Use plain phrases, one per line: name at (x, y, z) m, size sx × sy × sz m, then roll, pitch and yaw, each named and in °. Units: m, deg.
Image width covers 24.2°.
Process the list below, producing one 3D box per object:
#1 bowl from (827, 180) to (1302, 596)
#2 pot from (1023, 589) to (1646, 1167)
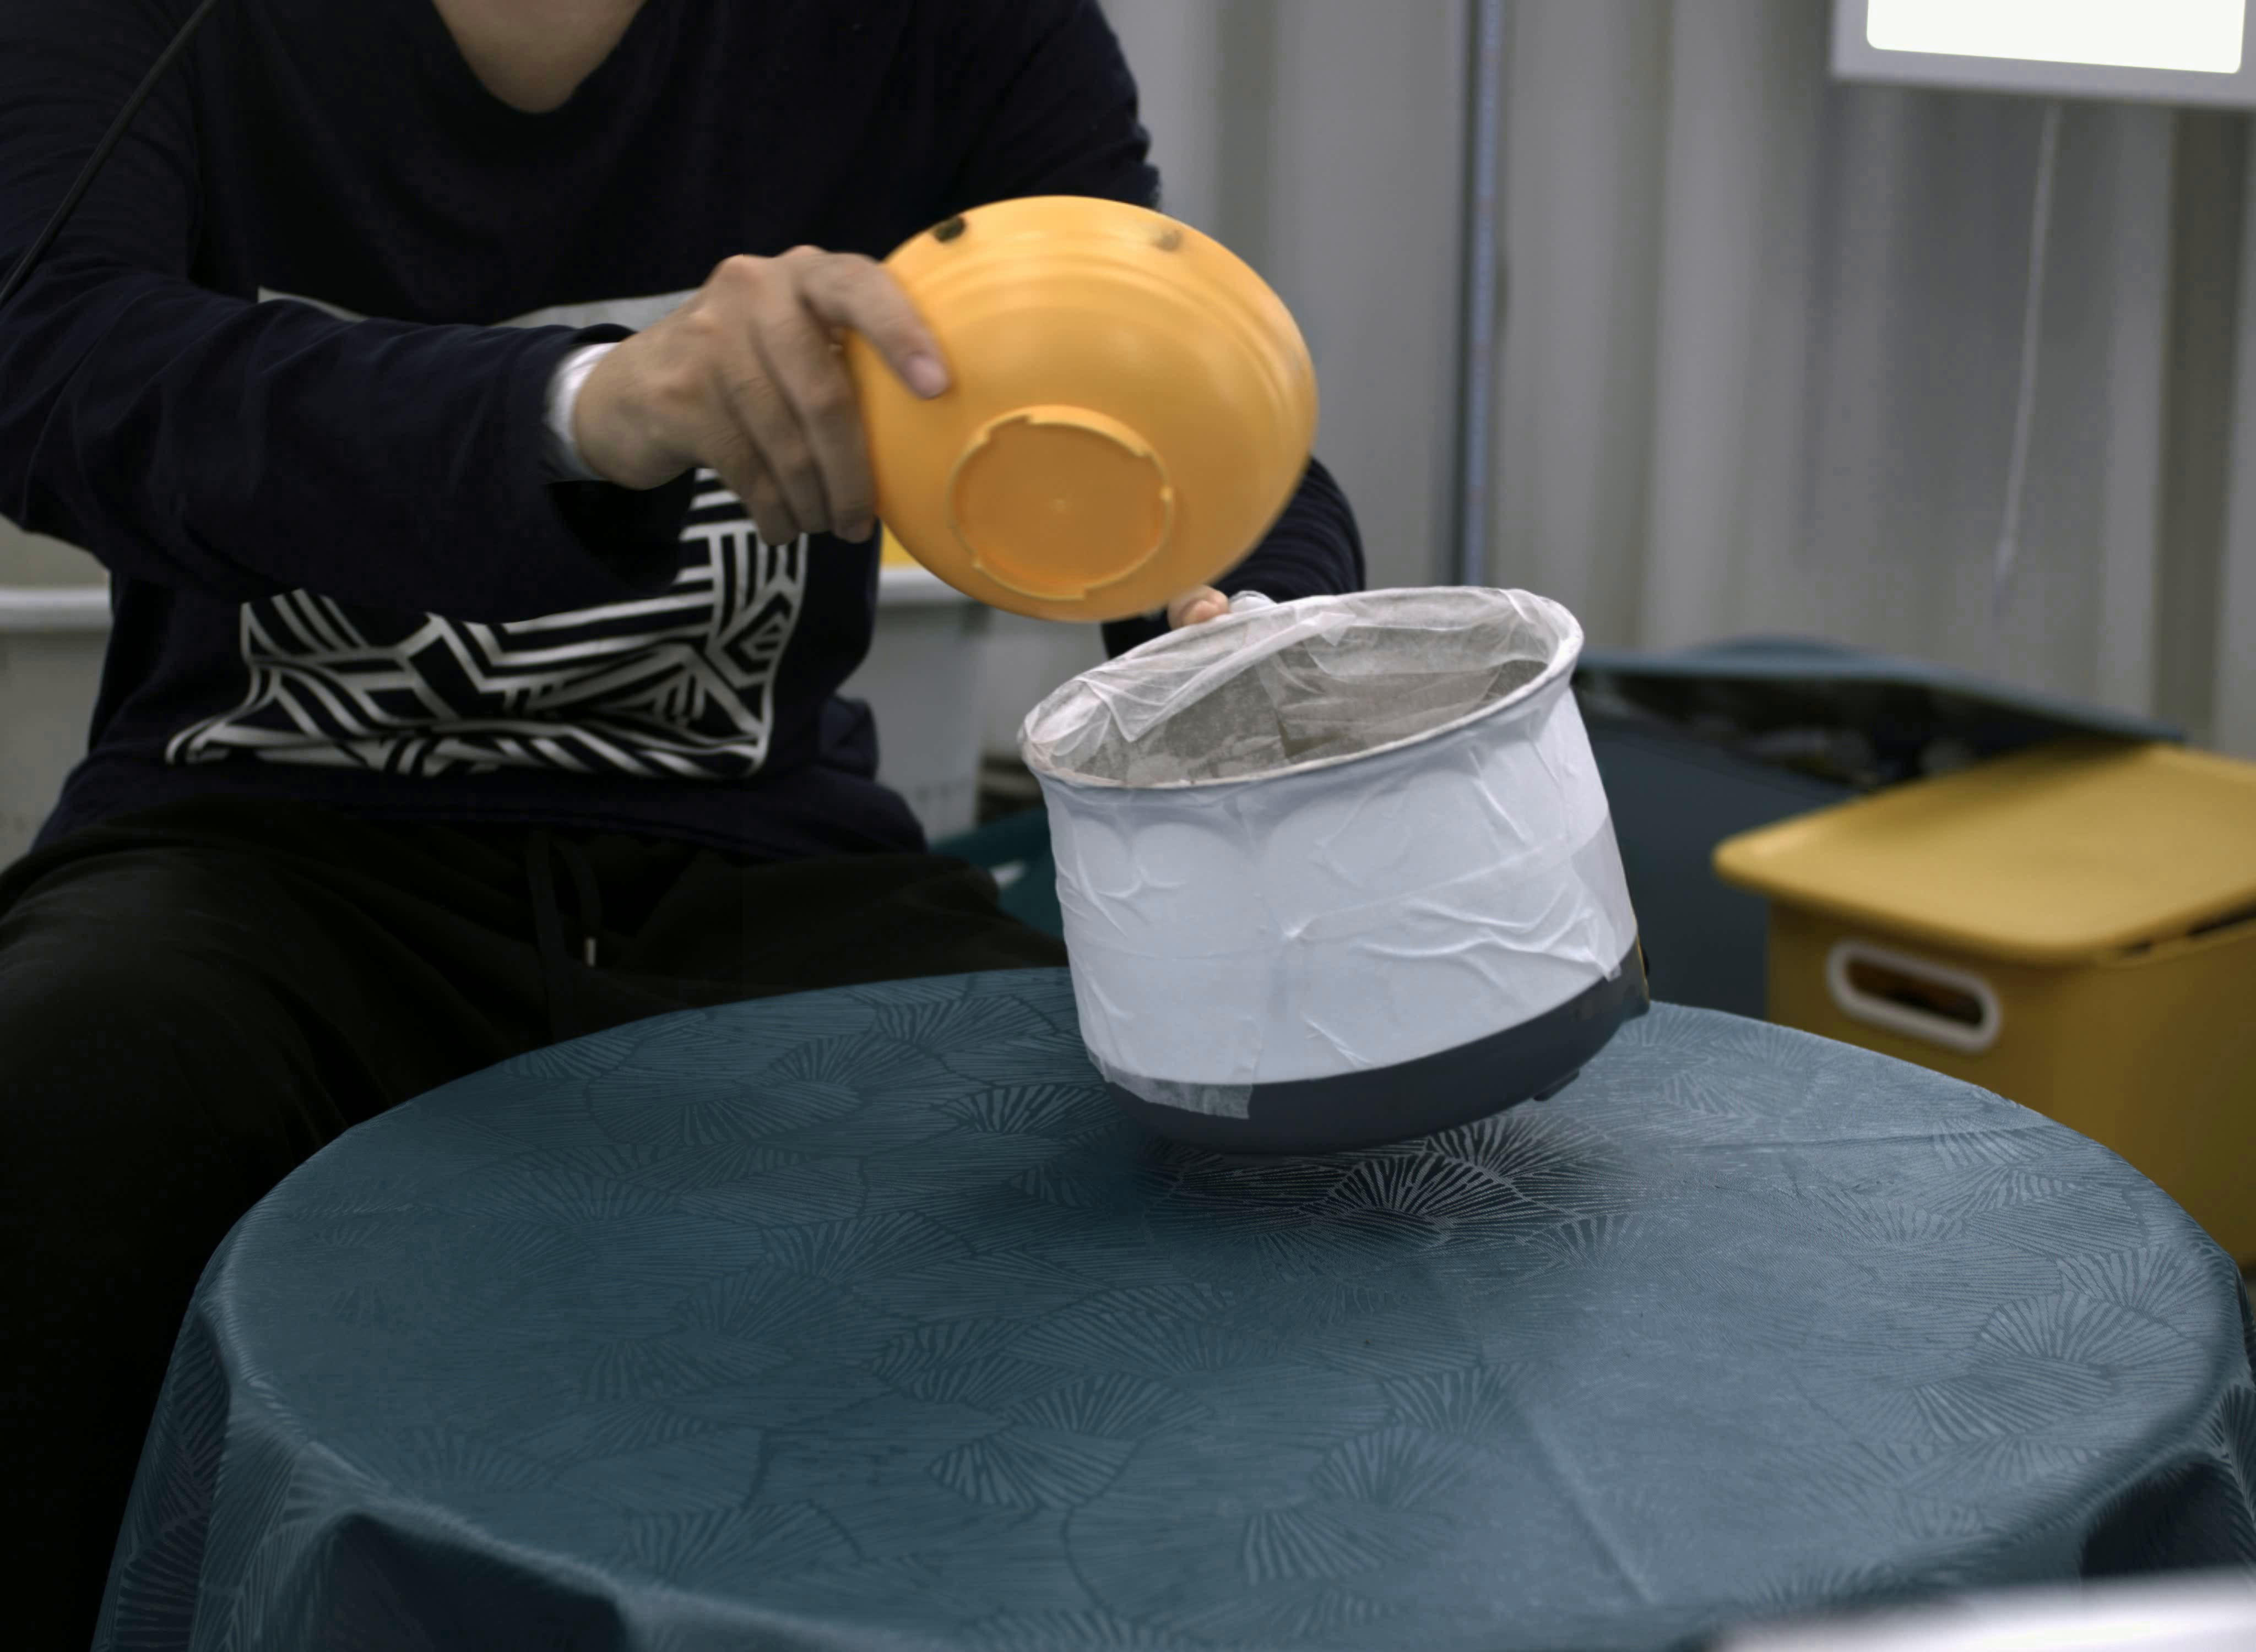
bowl at (-0.023, -0.115, 1.547) m, size 0.144 × 0.147 × 0.059 m, roll 3°, pitch 46°, yaw 7°
pot at (0.061, 0.008, 1.654) m, size 0.178 × 0.138 × 0.232 m, roll -12°, pitch 18°, yaw -7°
